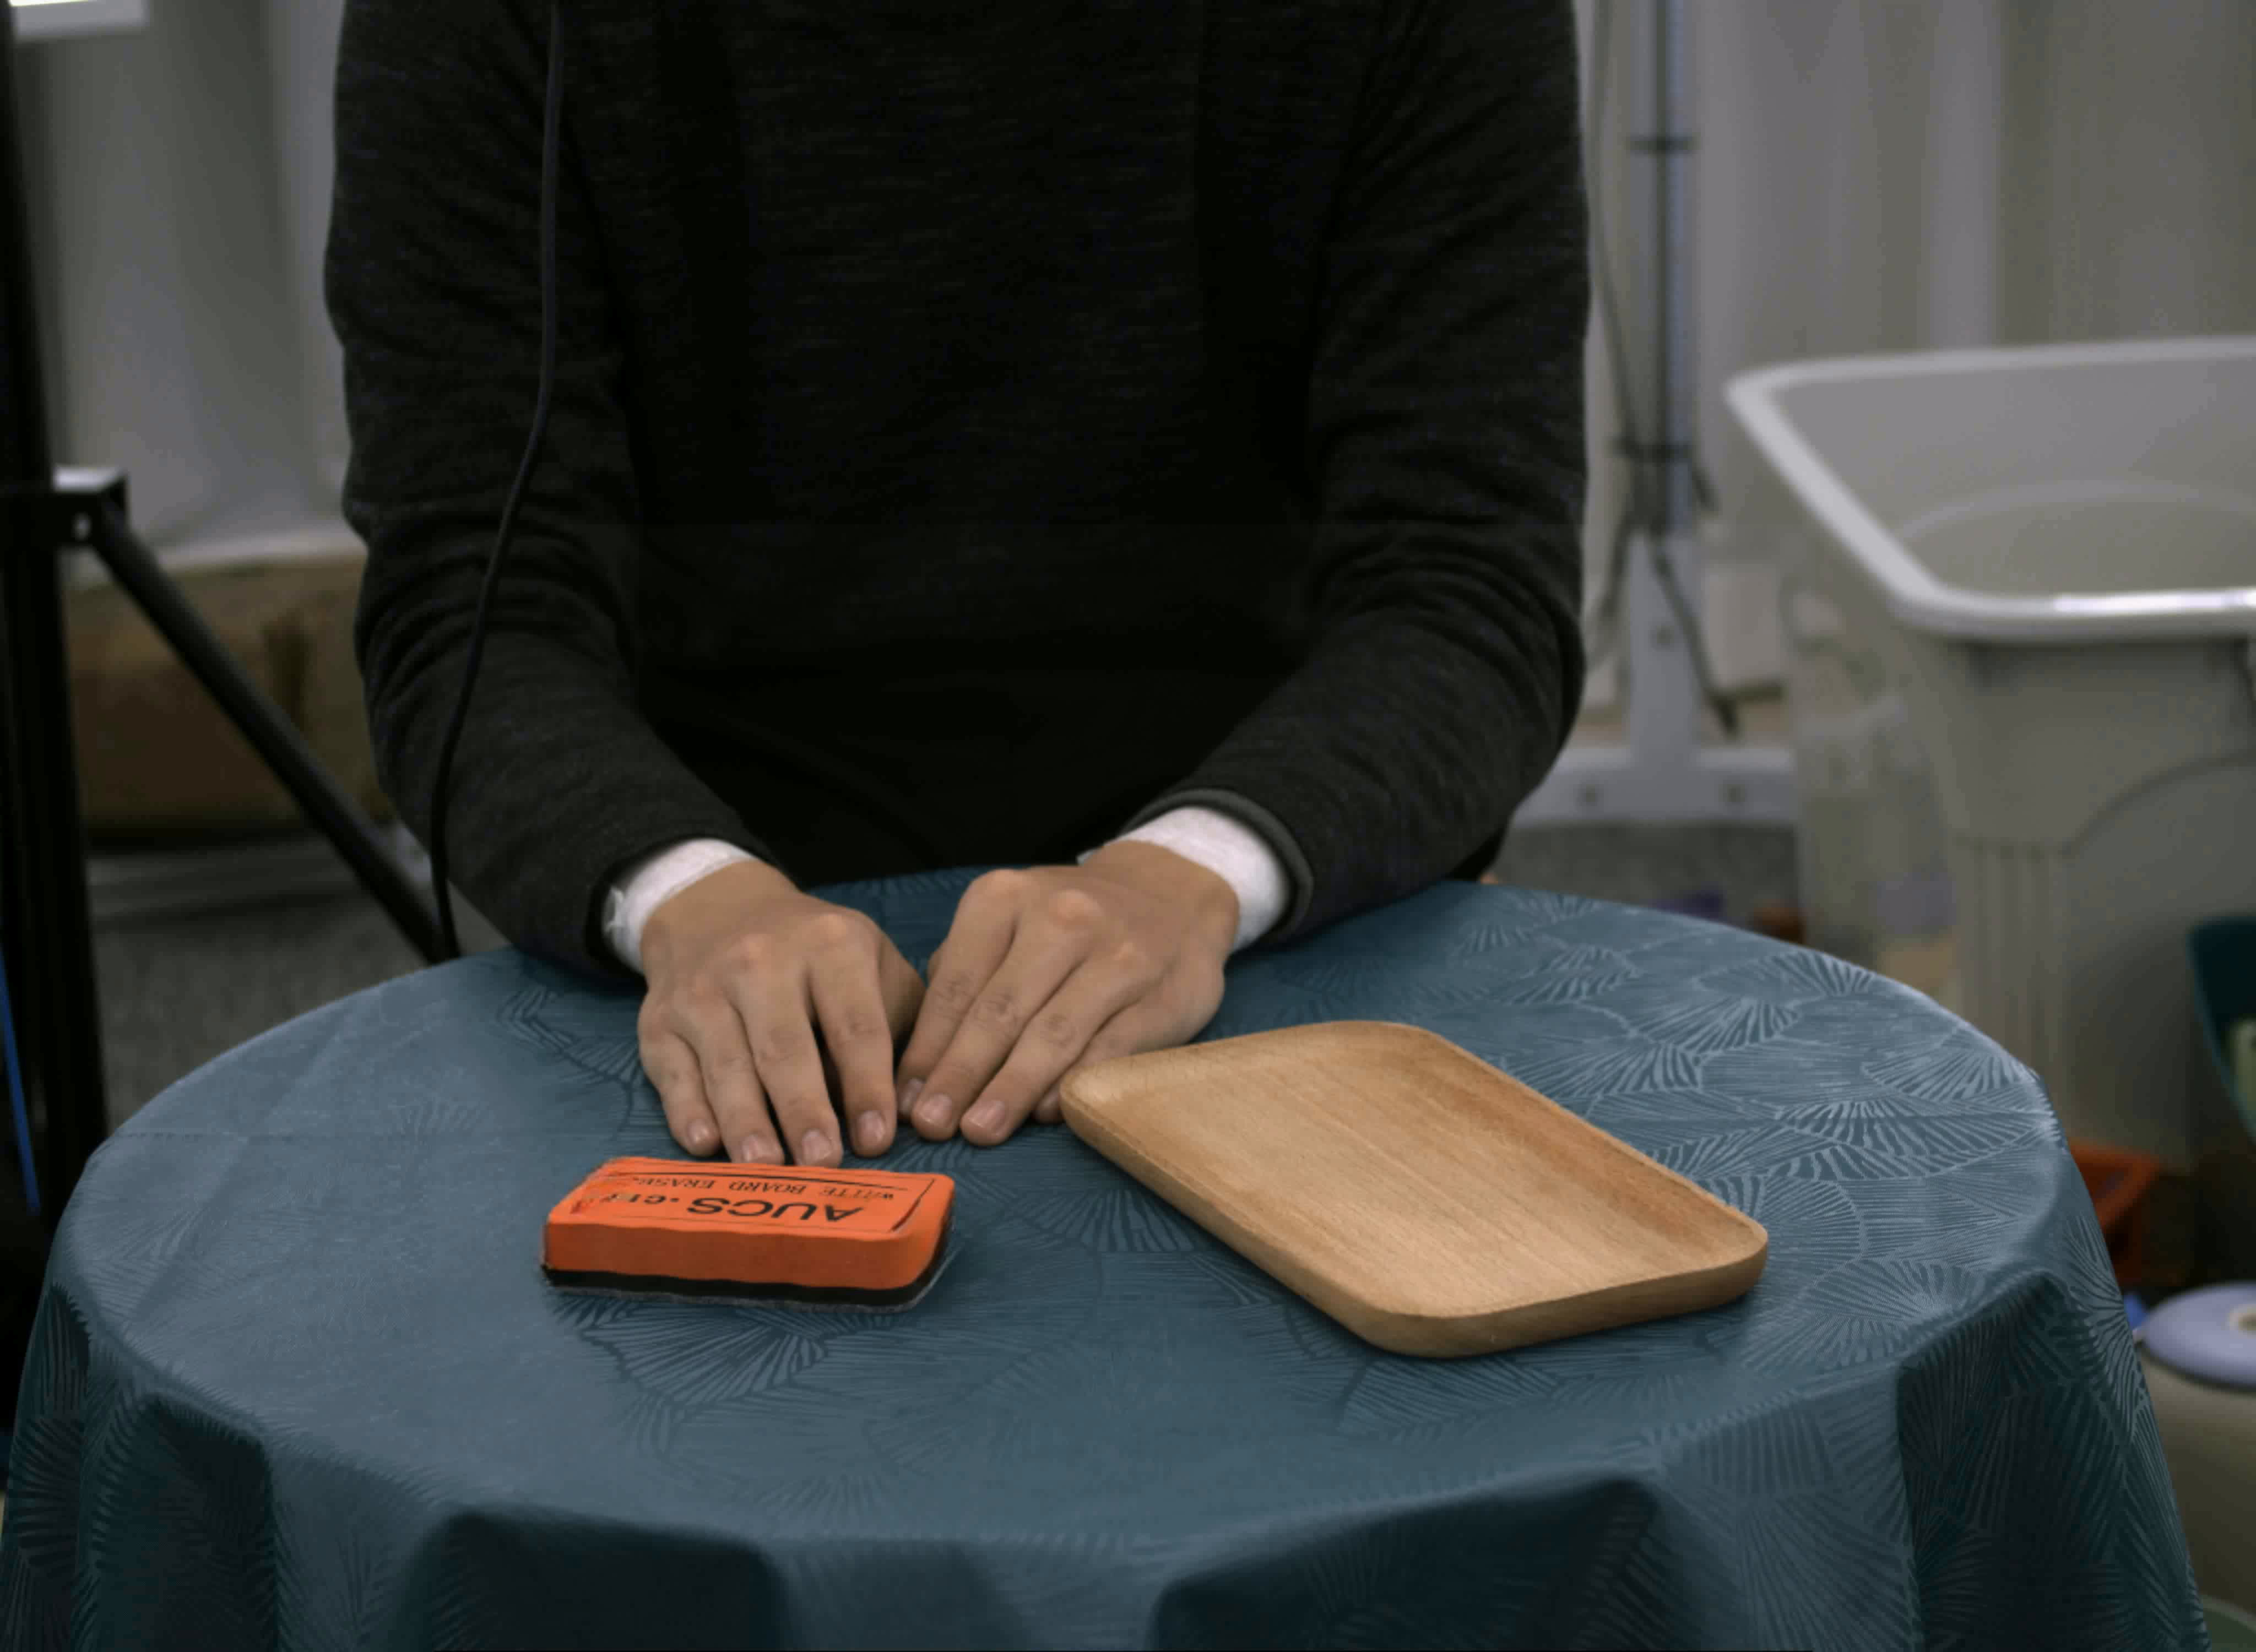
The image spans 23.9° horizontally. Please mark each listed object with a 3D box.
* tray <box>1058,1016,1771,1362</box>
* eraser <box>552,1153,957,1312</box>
[{"bbox_3d":[0.078,0.102,1.533,0.128,0.023,0.255,-6,15,-21],"label":"tray"},{"bbox_3d":[-0.105,0.115,1.506,0.109,0.023,0.058,3,16,18],"label":"eraser"}]
